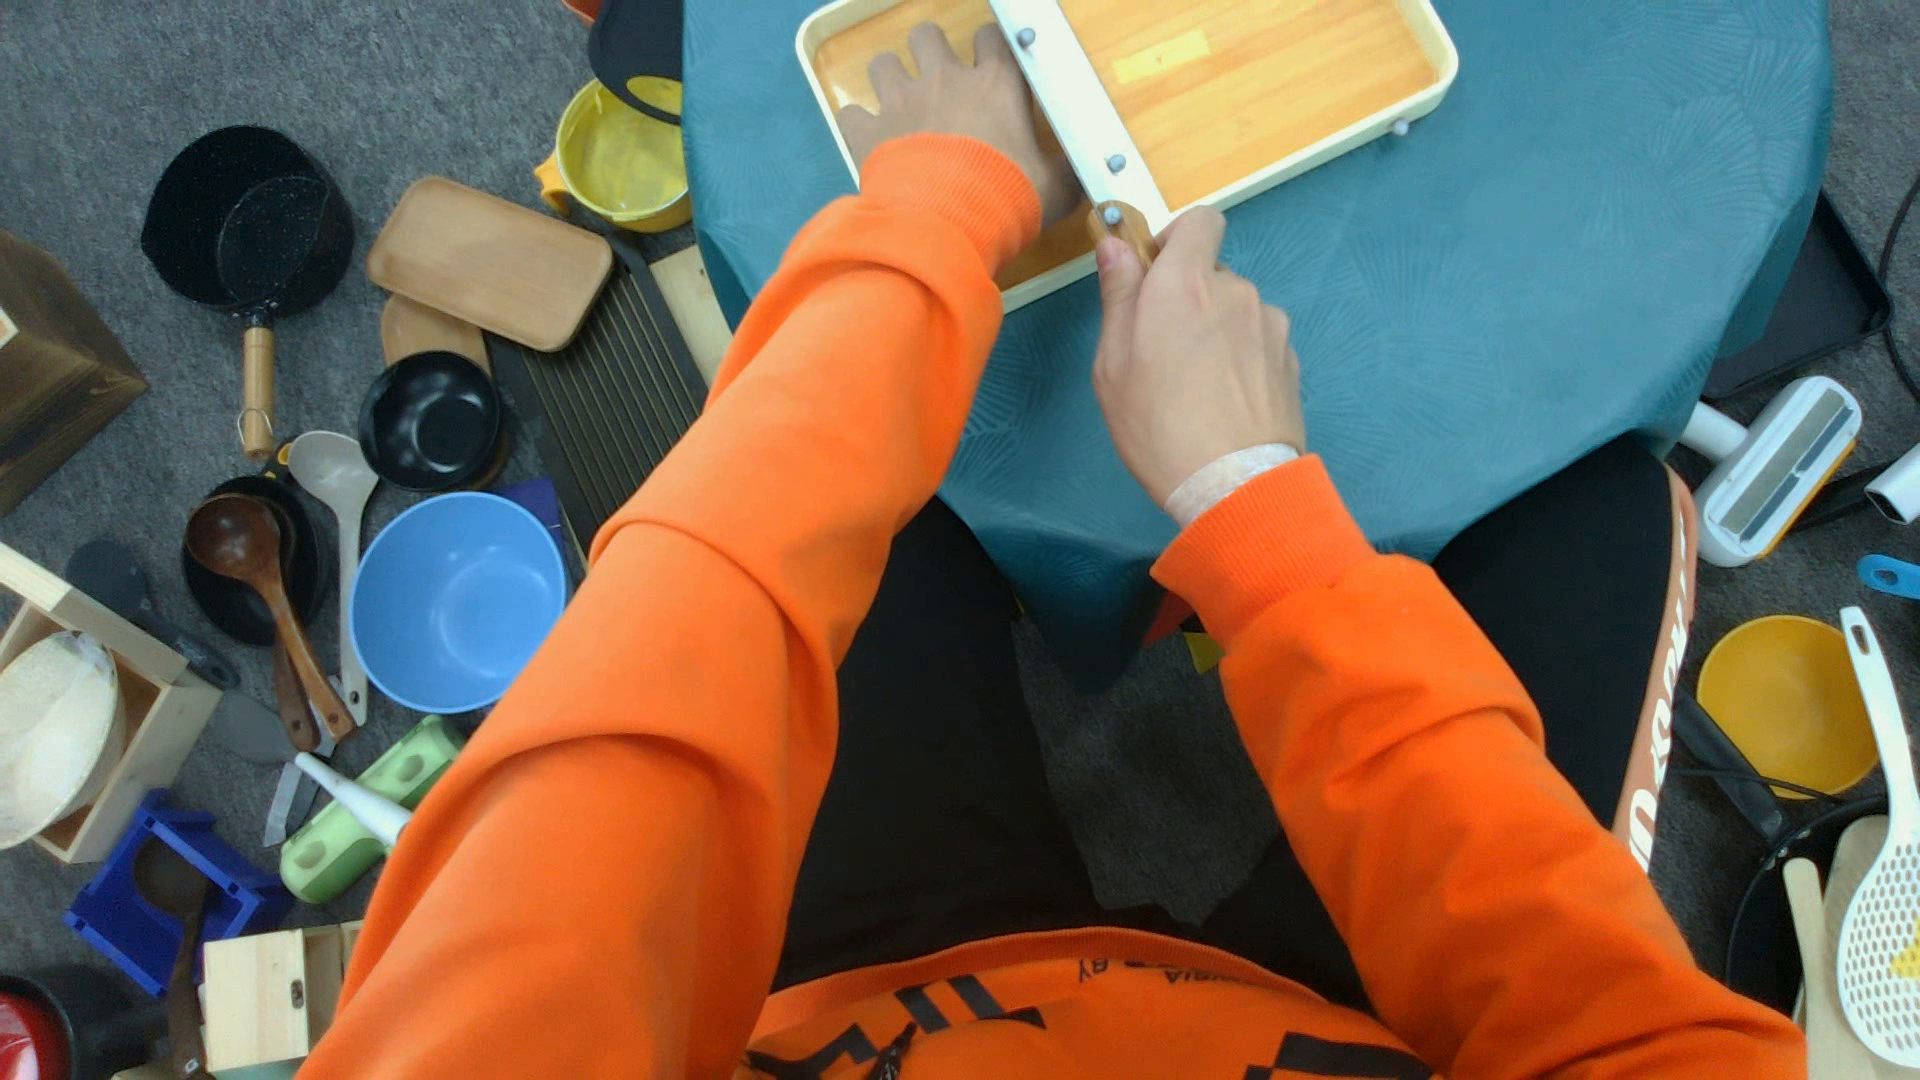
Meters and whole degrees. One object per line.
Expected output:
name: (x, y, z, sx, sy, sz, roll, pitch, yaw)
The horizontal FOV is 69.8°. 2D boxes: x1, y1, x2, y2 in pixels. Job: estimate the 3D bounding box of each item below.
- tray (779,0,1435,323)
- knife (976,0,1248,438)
tray: (0.072, -0.255, 0.724, 0.300, 0.027, 0.192, -25, 78, 1)
knife: (0.064, -0.180, 0.653, 0.021, 0.093, 0.306, -33, 74, 28)
